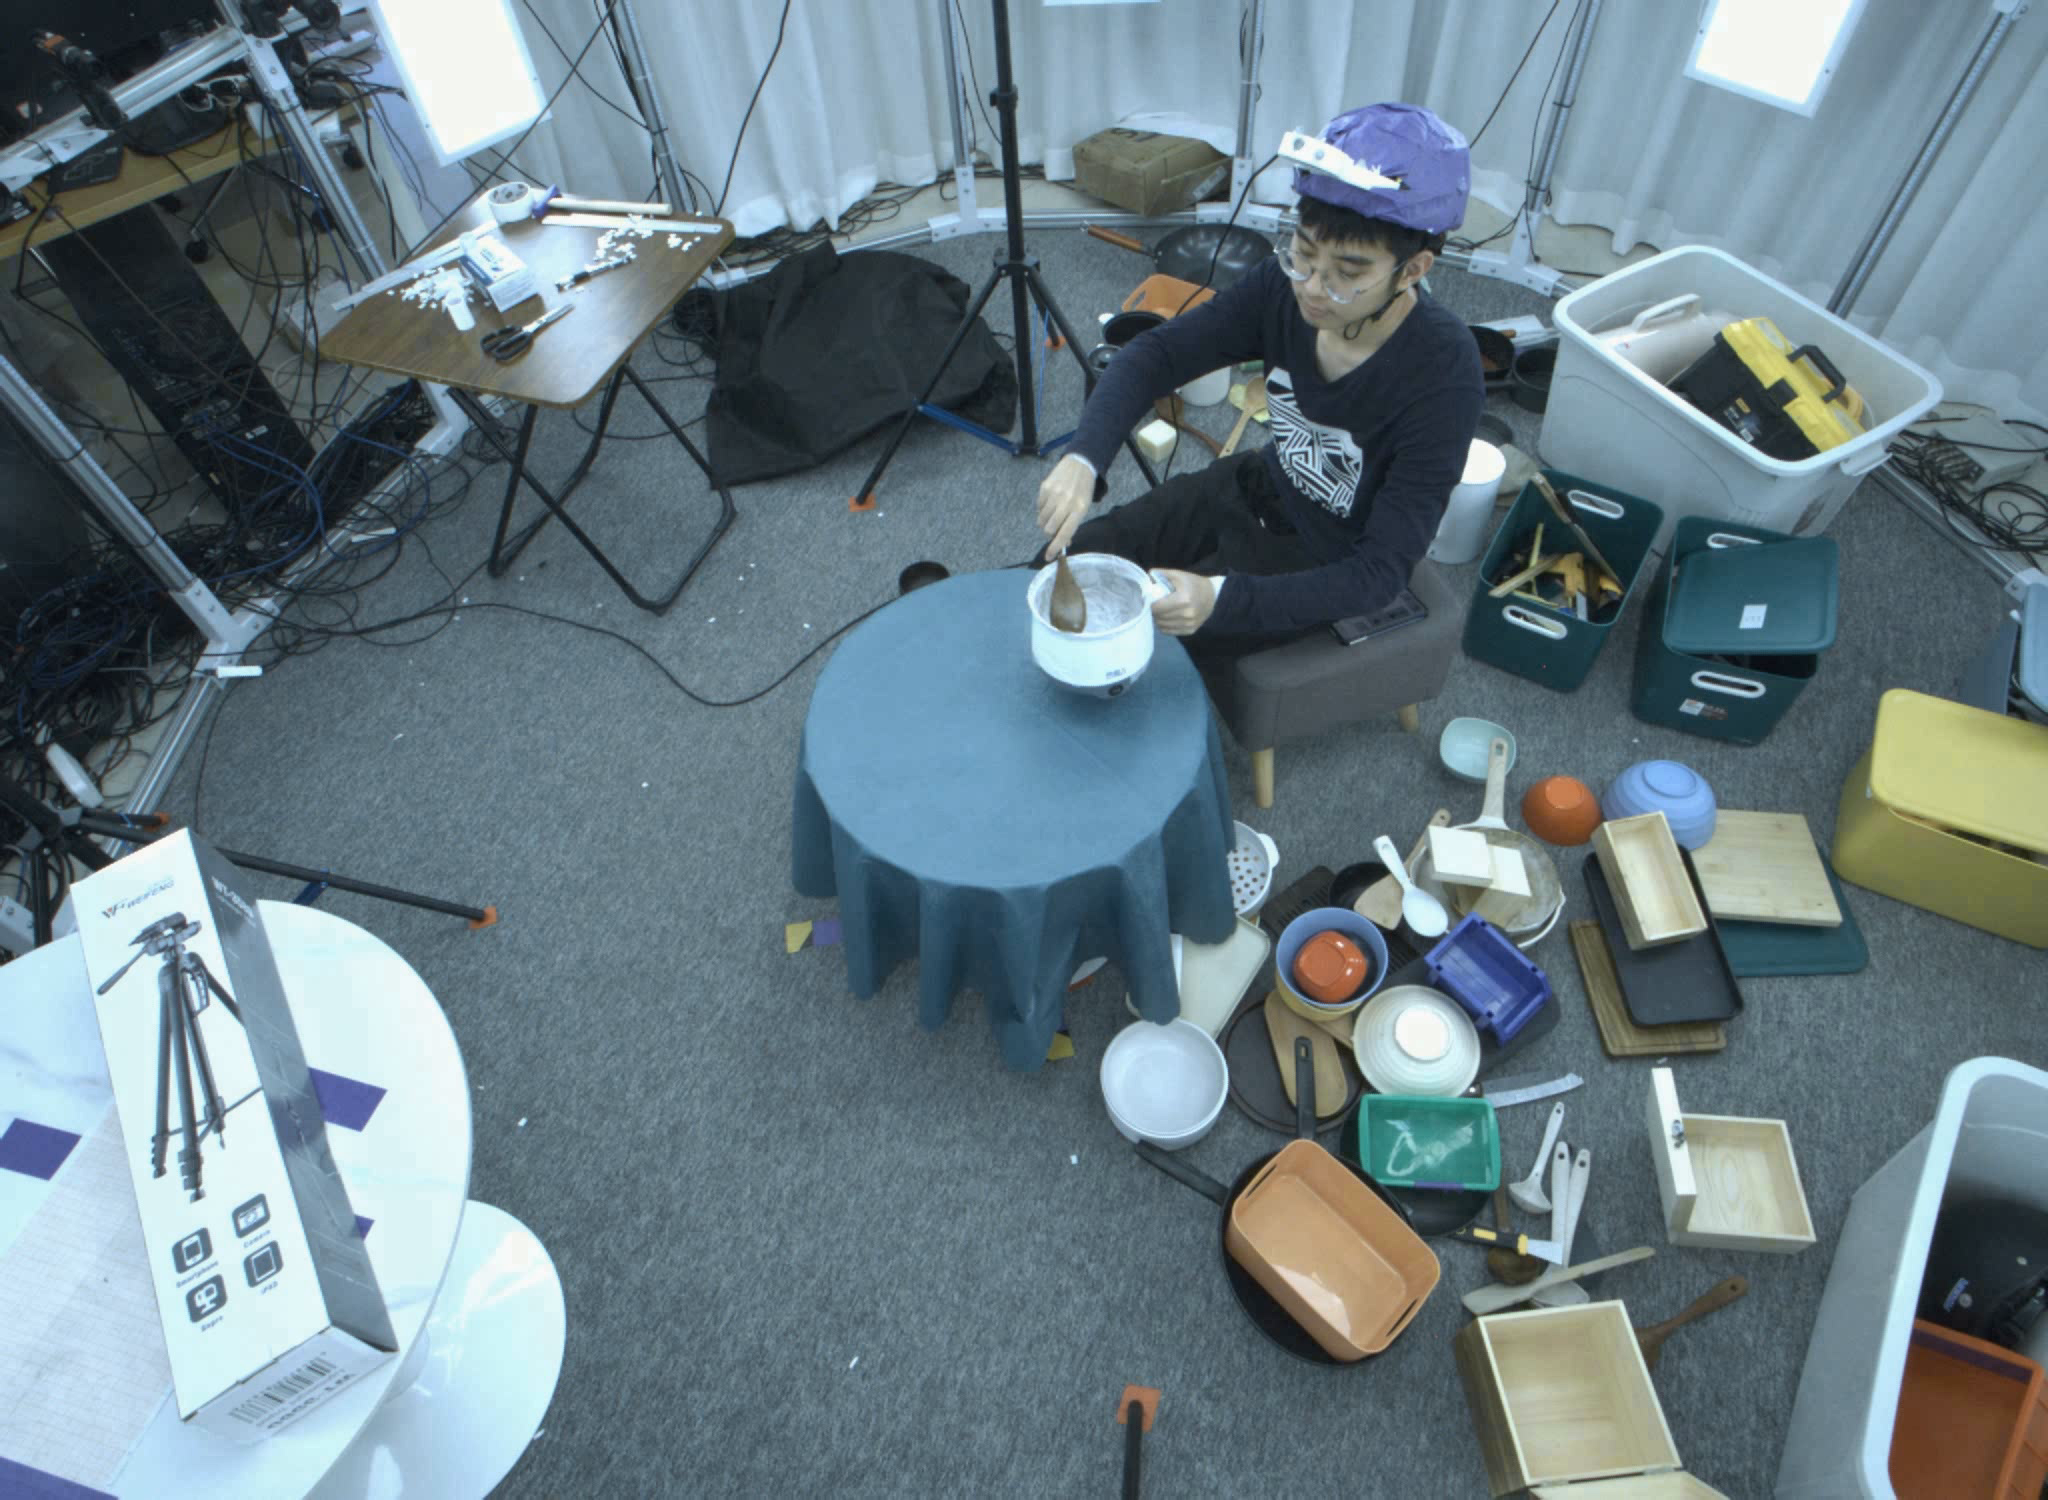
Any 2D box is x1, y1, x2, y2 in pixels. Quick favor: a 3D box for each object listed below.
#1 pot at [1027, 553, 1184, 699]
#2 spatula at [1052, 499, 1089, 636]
[{"bbox_3d":[0.123,-0.189,1.789,0.235,0.138,0.175,-20,53,-13],"label":"pot"},{"bbox_3d":[0.059,-0.257,1.725,0.009,0.070,0.214,7,72,-41],"label":"spatula"}]
